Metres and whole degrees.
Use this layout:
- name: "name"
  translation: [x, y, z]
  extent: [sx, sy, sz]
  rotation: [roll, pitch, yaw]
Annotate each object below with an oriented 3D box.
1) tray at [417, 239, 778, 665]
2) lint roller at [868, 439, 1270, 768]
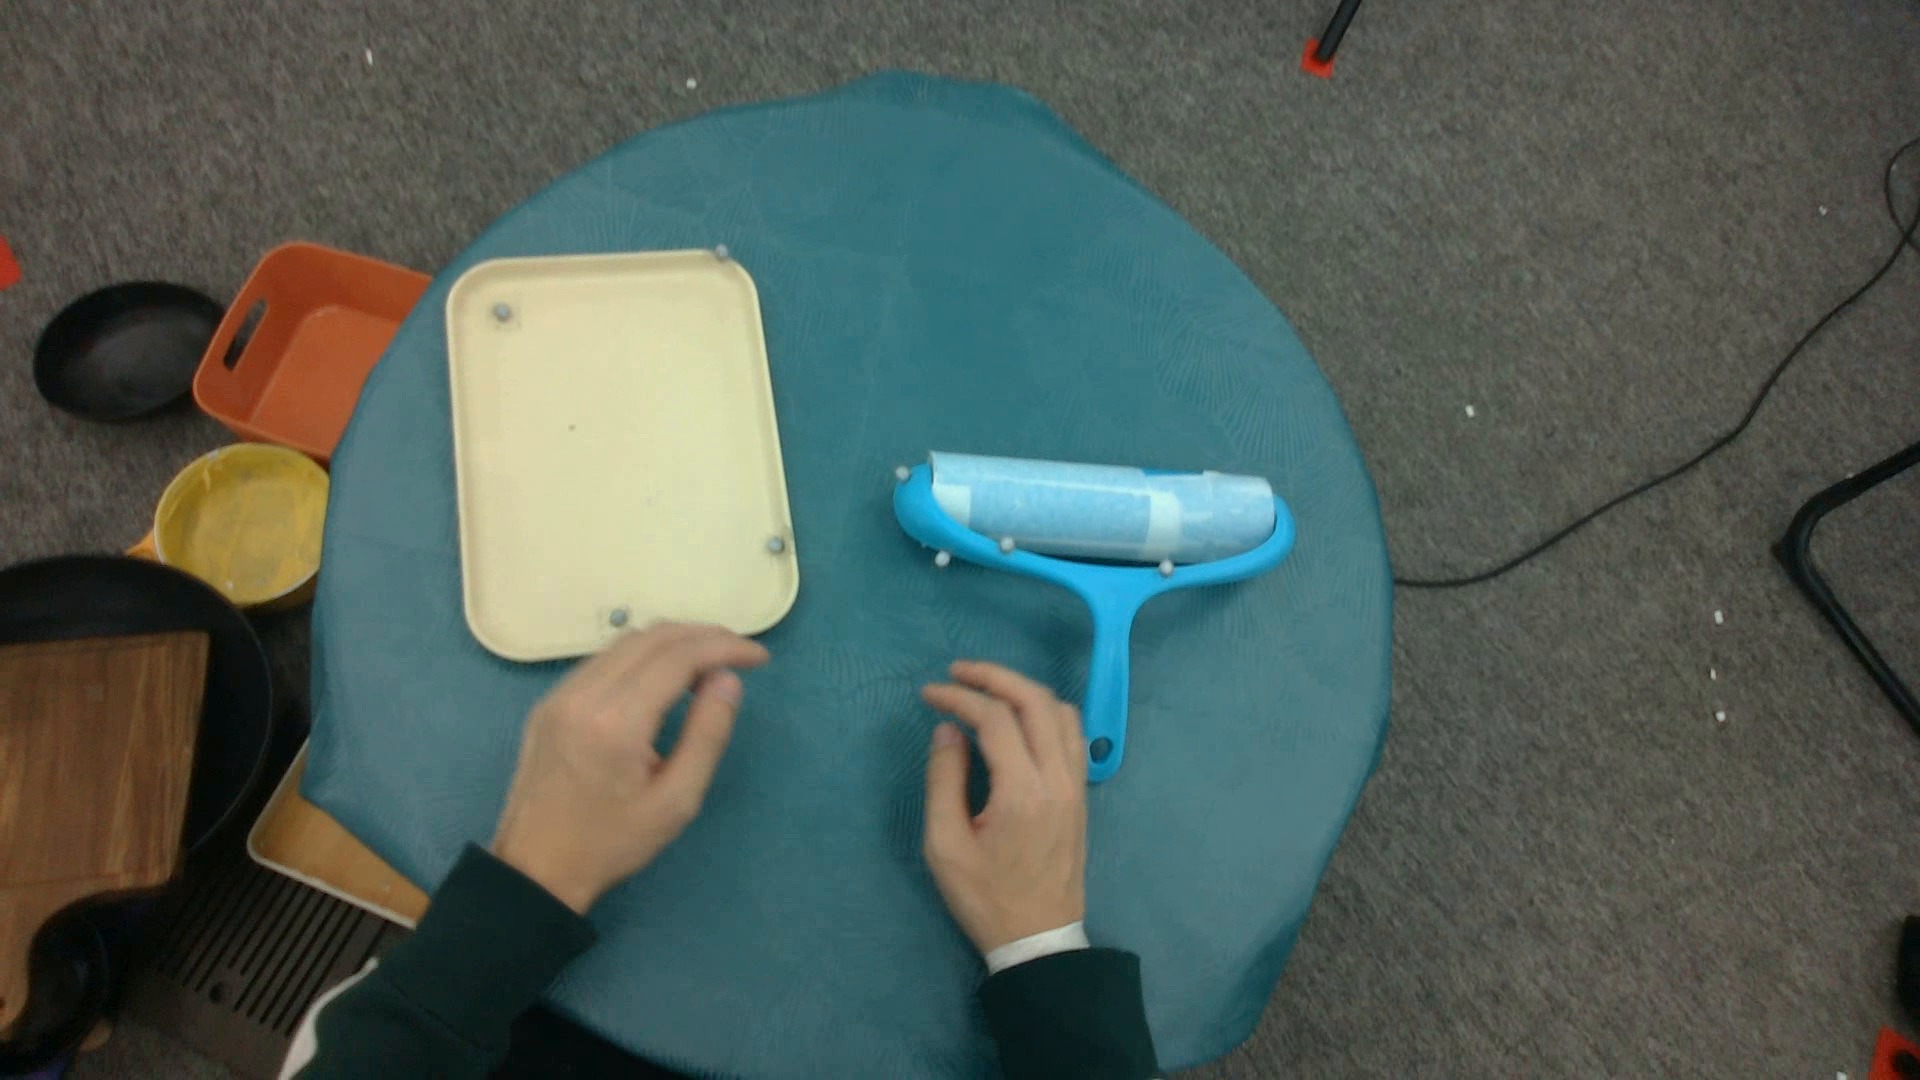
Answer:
- name: "tray"
  translation: [-0.199, -0.053, 0.753]
  extent: [0.171, 0.017, 0.240]
  rotation: [-8, 71, -13]
- name: "lint roller"
  translation: [0.067, 0.029, 0.751]
  extent: [0.229, 0.067, 0.181]
  rotation: [0, 69, -12]
